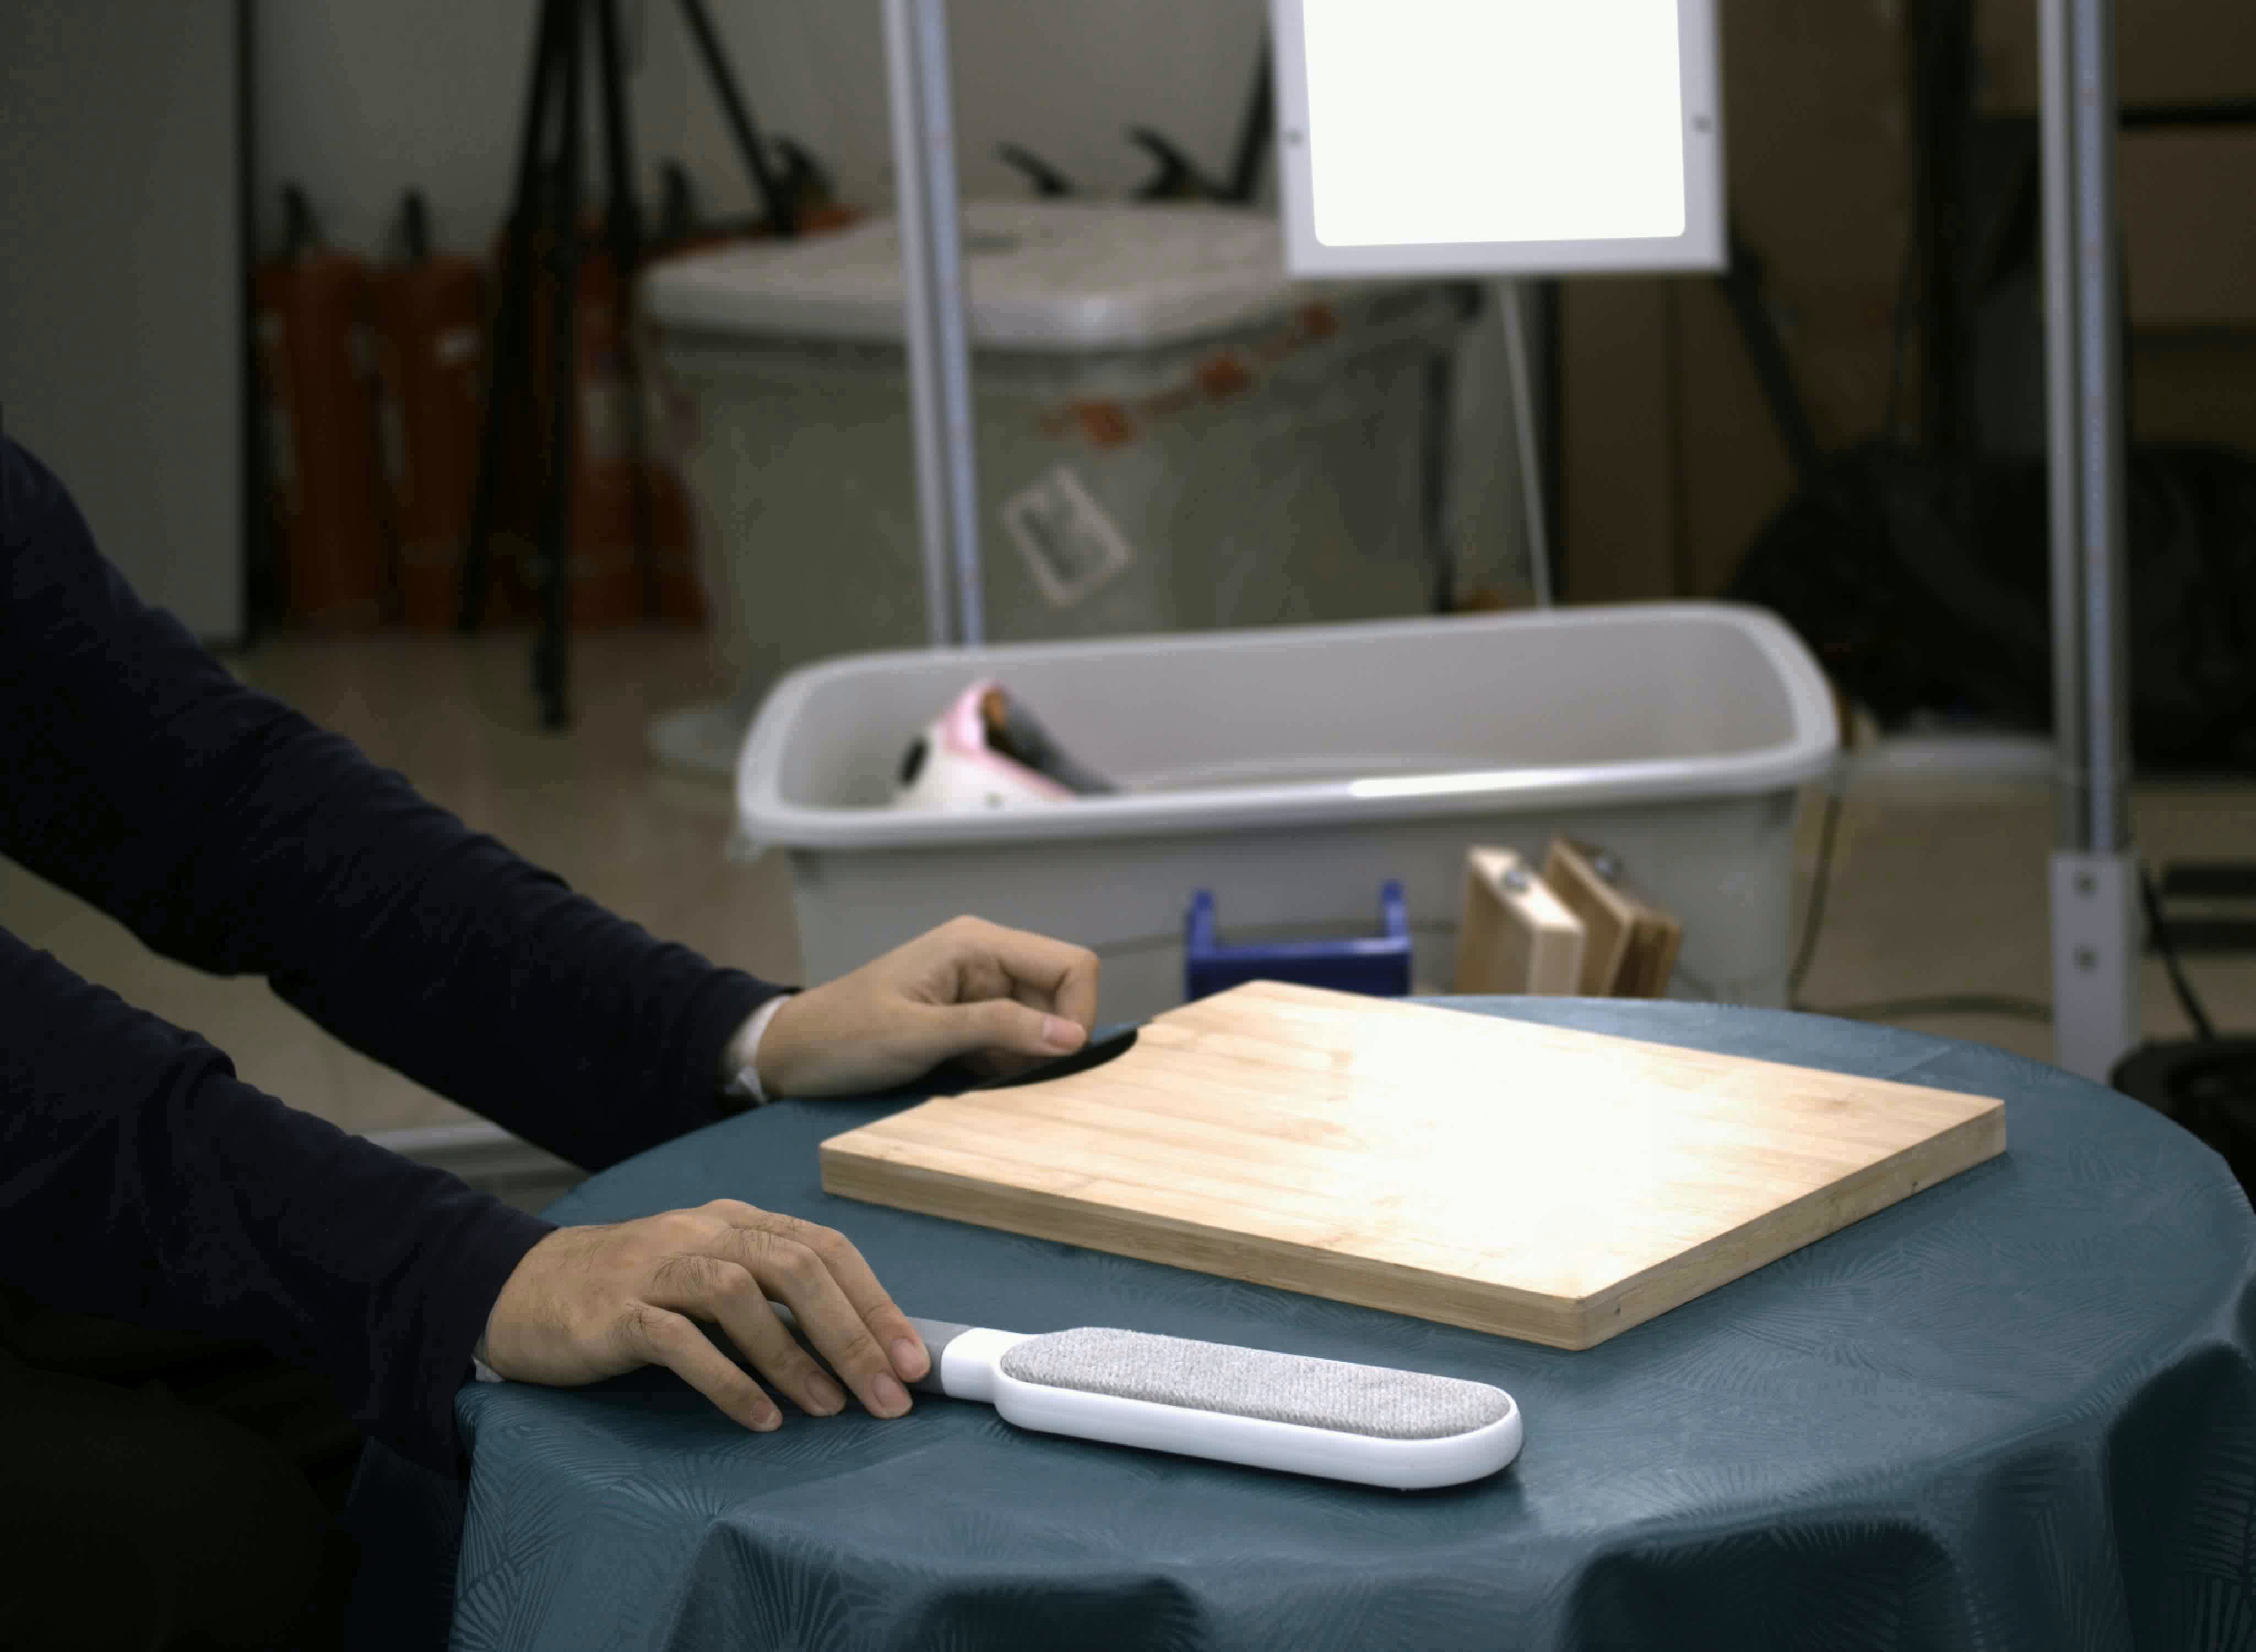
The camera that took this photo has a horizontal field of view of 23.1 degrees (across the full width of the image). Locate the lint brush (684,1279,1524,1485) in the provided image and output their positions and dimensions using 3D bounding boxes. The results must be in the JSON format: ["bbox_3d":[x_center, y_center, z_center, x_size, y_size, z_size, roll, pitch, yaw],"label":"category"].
[{"bbox_3d":[-0.014,0.166,1.688,0.315,0.021,0.058,5,22,37],"label":"lint brush"}]

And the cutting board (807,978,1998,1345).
[{"bbox_3d":[0.092,0.111,1.901,0.356,0.023,0.244,8,18,43],"label":"cutting board"}]
